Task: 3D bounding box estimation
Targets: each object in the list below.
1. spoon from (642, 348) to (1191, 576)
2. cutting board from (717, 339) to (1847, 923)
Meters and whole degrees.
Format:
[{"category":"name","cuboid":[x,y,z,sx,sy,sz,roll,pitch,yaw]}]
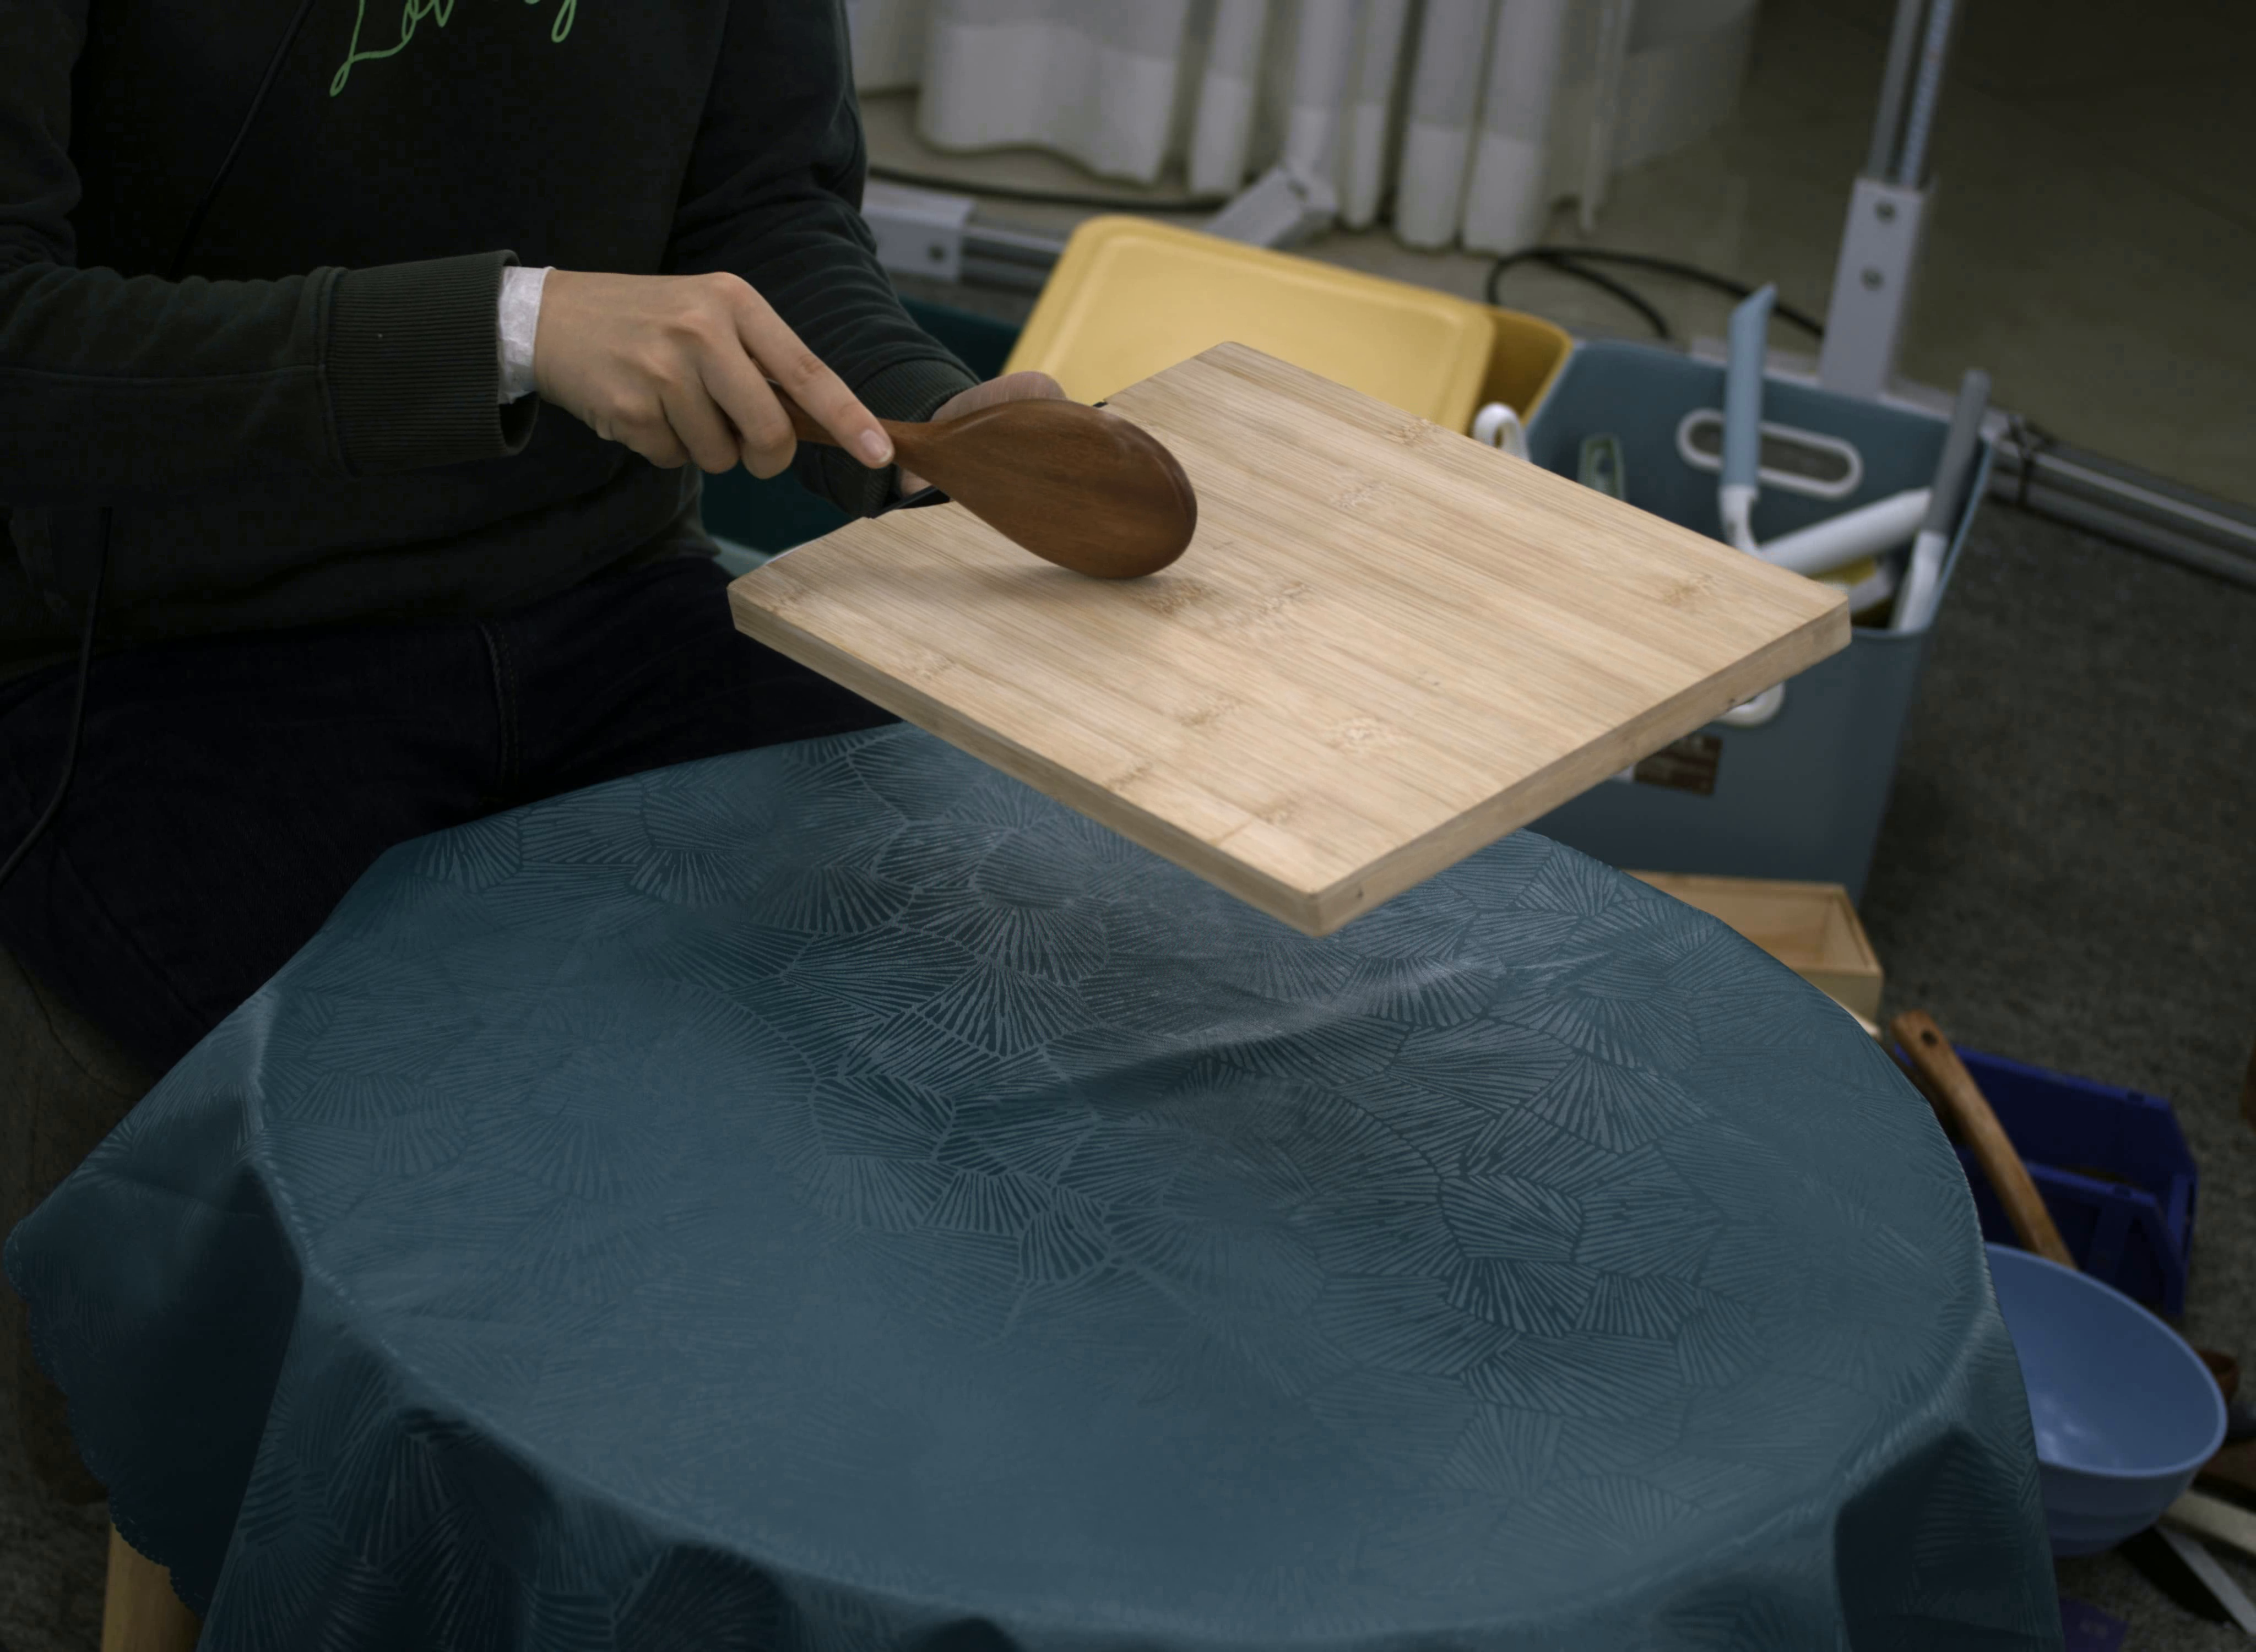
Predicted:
[{"category":"spoon","cuboid":[-0.077,-0.133,1.892,0.216,0.075,0.017,17,49,20]},{"category":"cutting board","cuboid":[0.047,-0.077,1.870,0.250,0.023,0.351,-28,34,-29]}]
